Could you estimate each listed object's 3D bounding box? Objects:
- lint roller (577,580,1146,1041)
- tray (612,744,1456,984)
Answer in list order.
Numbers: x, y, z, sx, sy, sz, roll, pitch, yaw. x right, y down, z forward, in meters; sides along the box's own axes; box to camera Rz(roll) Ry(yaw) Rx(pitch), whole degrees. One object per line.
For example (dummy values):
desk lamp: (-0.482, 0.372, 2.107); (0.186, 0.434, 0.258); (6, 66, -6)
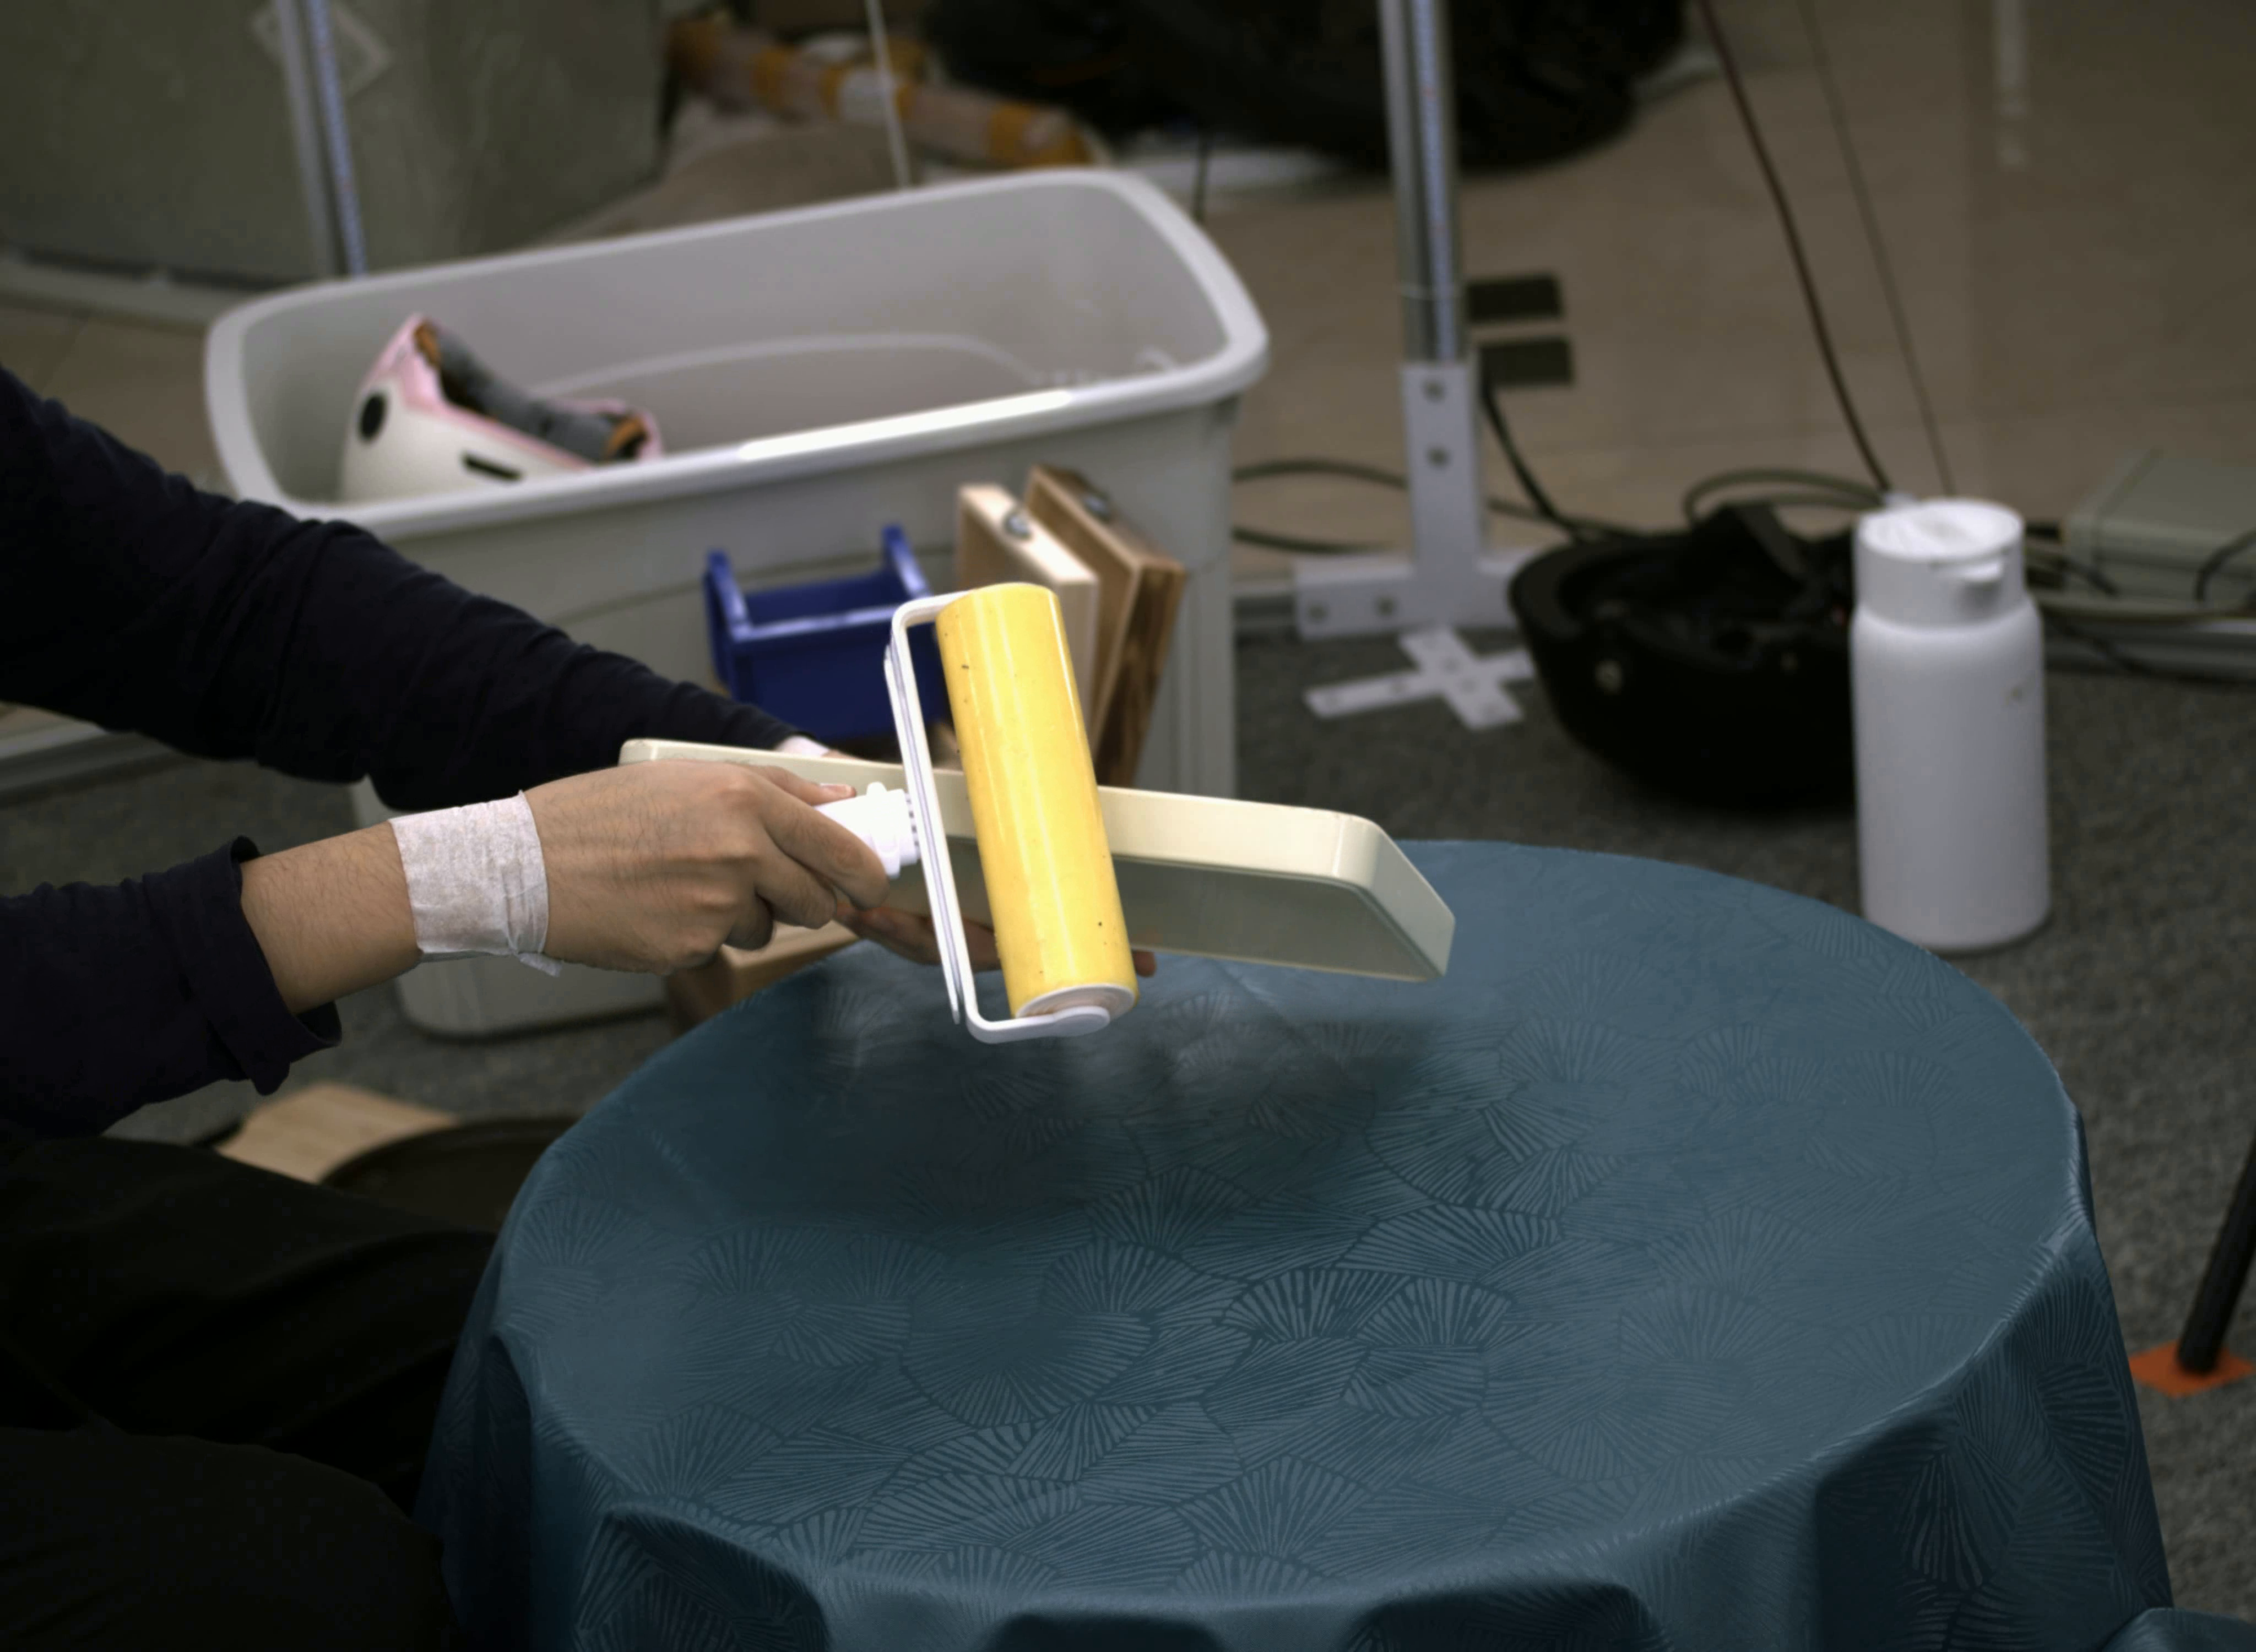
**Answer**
lint roller: (-0.103, 0.003, 2.046); (0.191, 0.052, 0.172); (-8, 70, -14)
tray: (-0.034, 0.016, 2.195); (0.299, 0.027, 0.193); (6, -12, 16)
